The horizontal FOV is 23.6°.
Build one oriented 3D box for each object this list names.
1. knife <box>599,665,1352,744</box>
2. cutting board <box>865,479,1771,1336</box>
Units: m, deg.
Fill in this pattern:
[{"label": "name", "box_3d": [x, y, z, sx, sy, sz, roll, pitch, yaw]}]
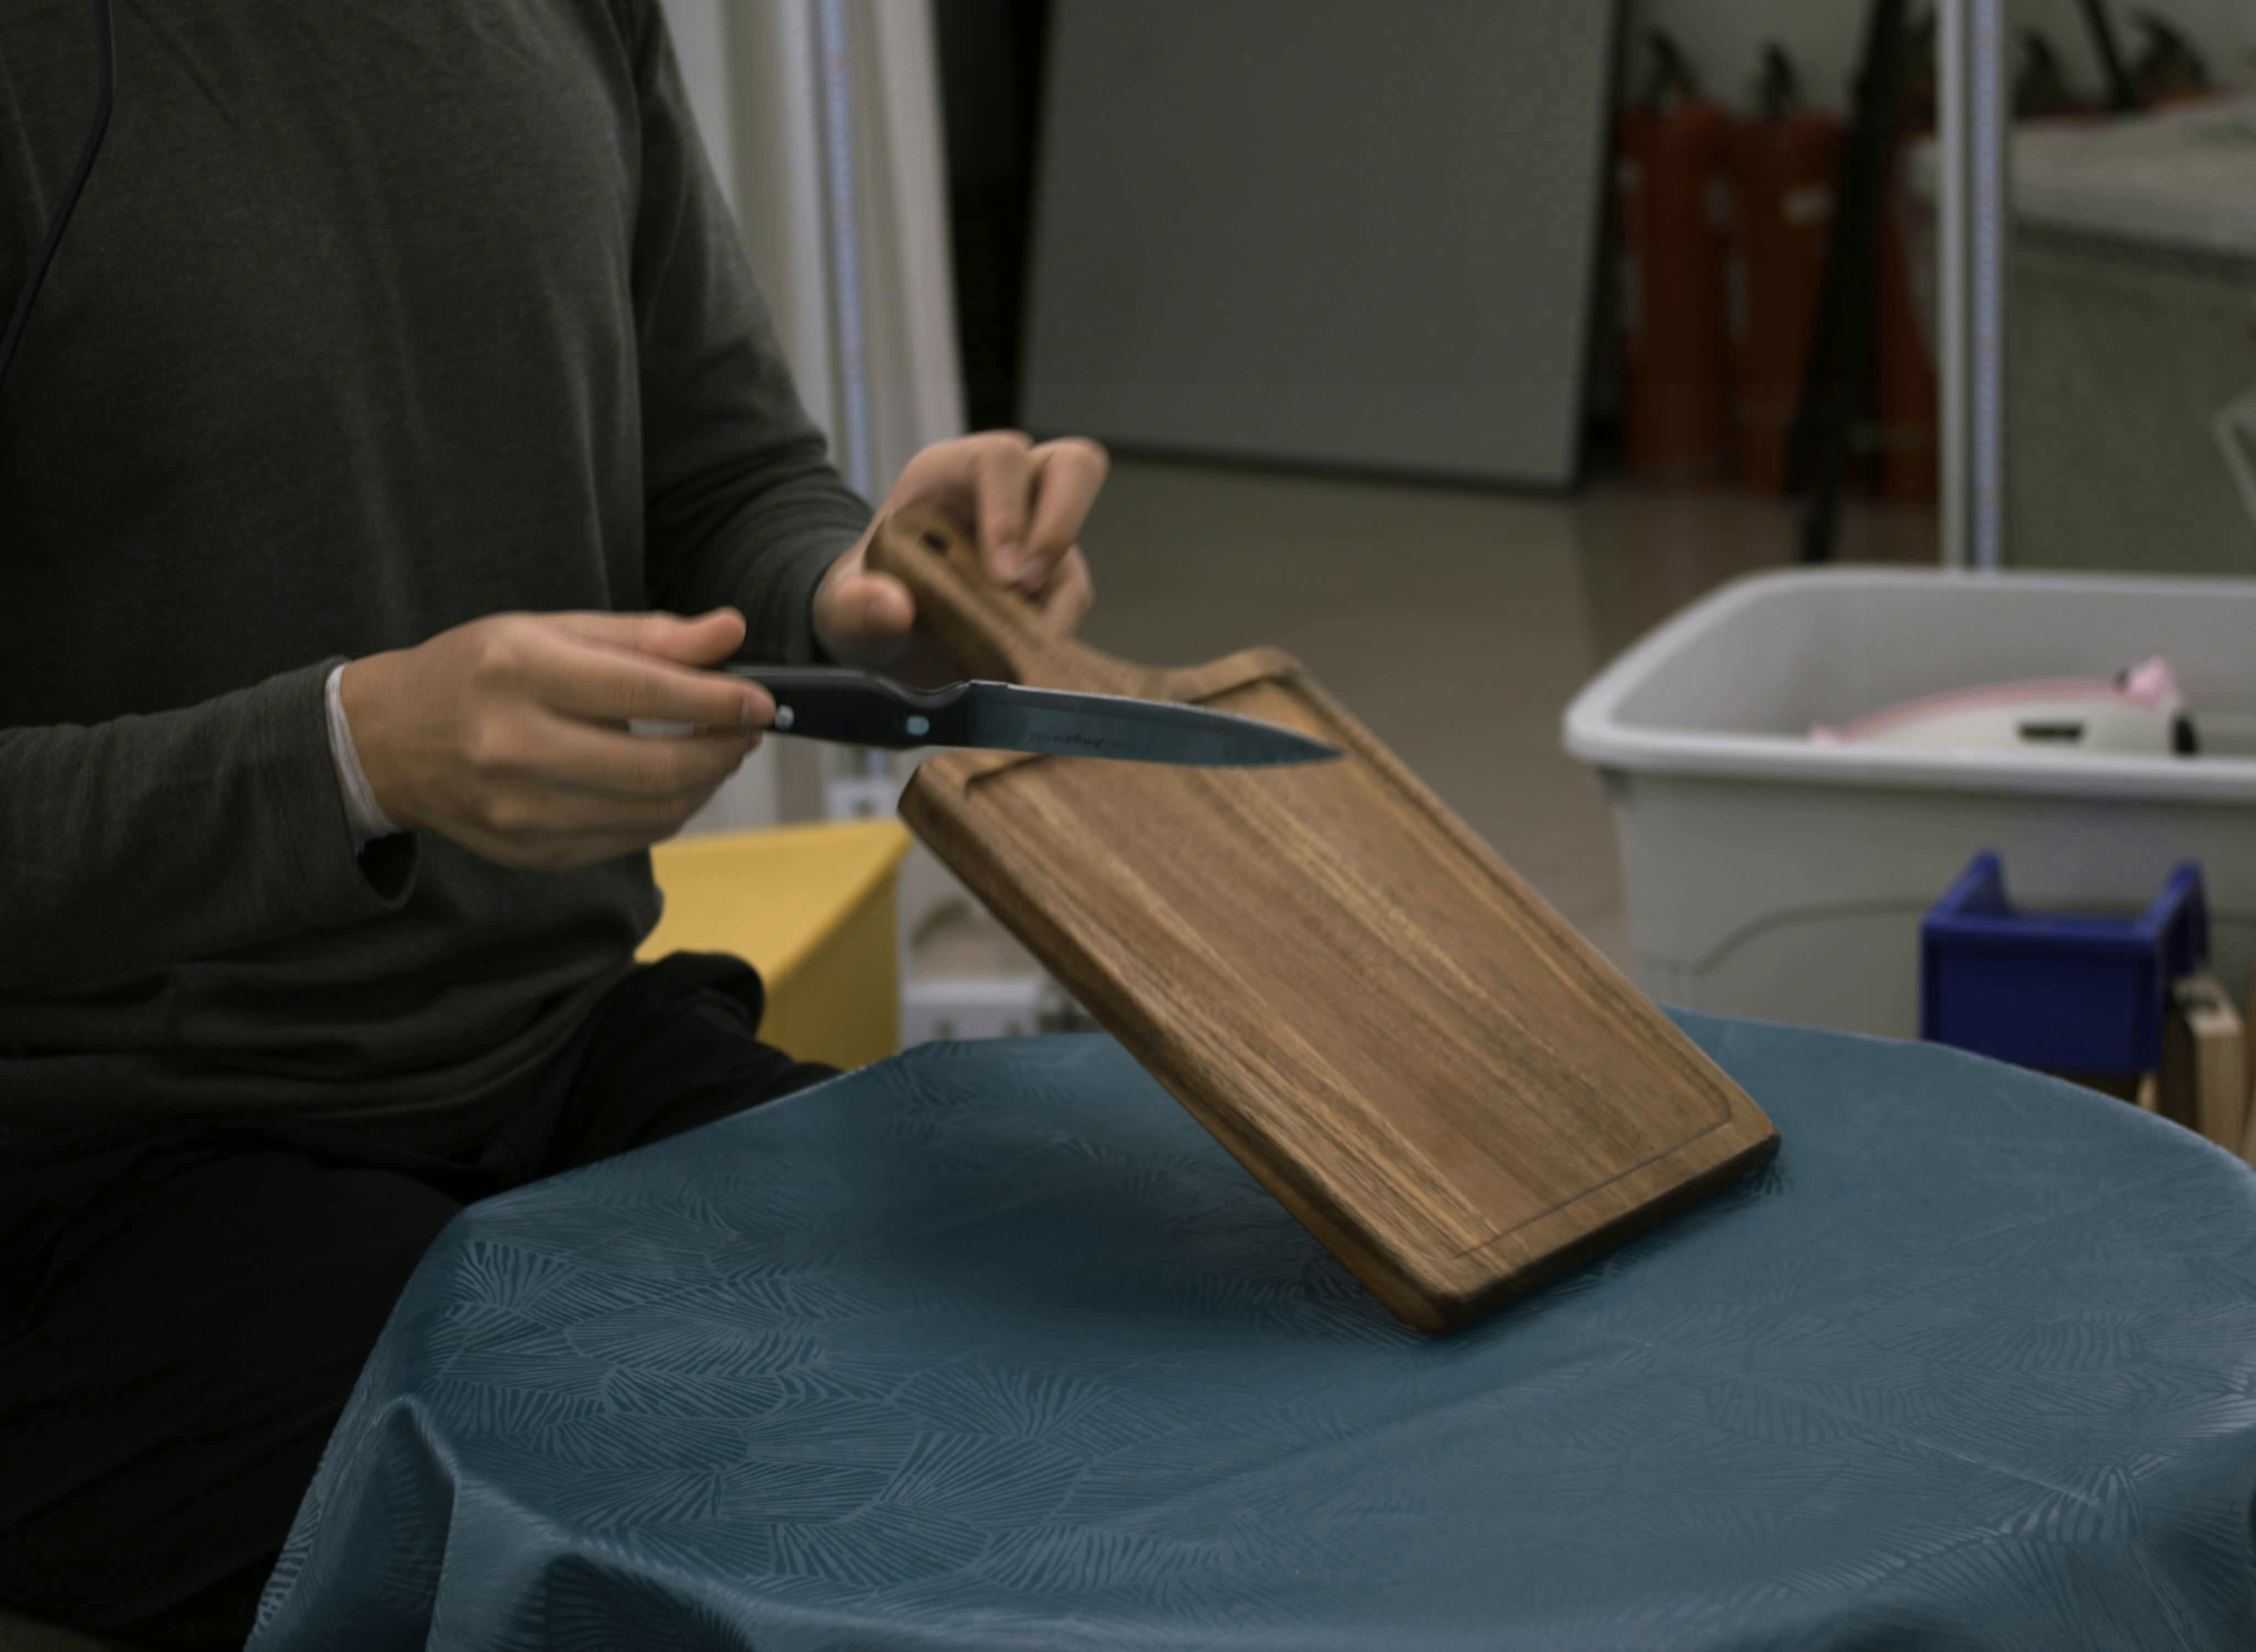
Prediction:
[{"label": "knife", "box_3d": [-0.045, -0.036, 1.658, 0.234, 0.025, 0.016, 1, 26, -11]}, {"label": "cutting board", "box_3d": [0.037, 0.009, 1.742, 0.355, 0.023, 0.197, 46, 37, 21]}]
